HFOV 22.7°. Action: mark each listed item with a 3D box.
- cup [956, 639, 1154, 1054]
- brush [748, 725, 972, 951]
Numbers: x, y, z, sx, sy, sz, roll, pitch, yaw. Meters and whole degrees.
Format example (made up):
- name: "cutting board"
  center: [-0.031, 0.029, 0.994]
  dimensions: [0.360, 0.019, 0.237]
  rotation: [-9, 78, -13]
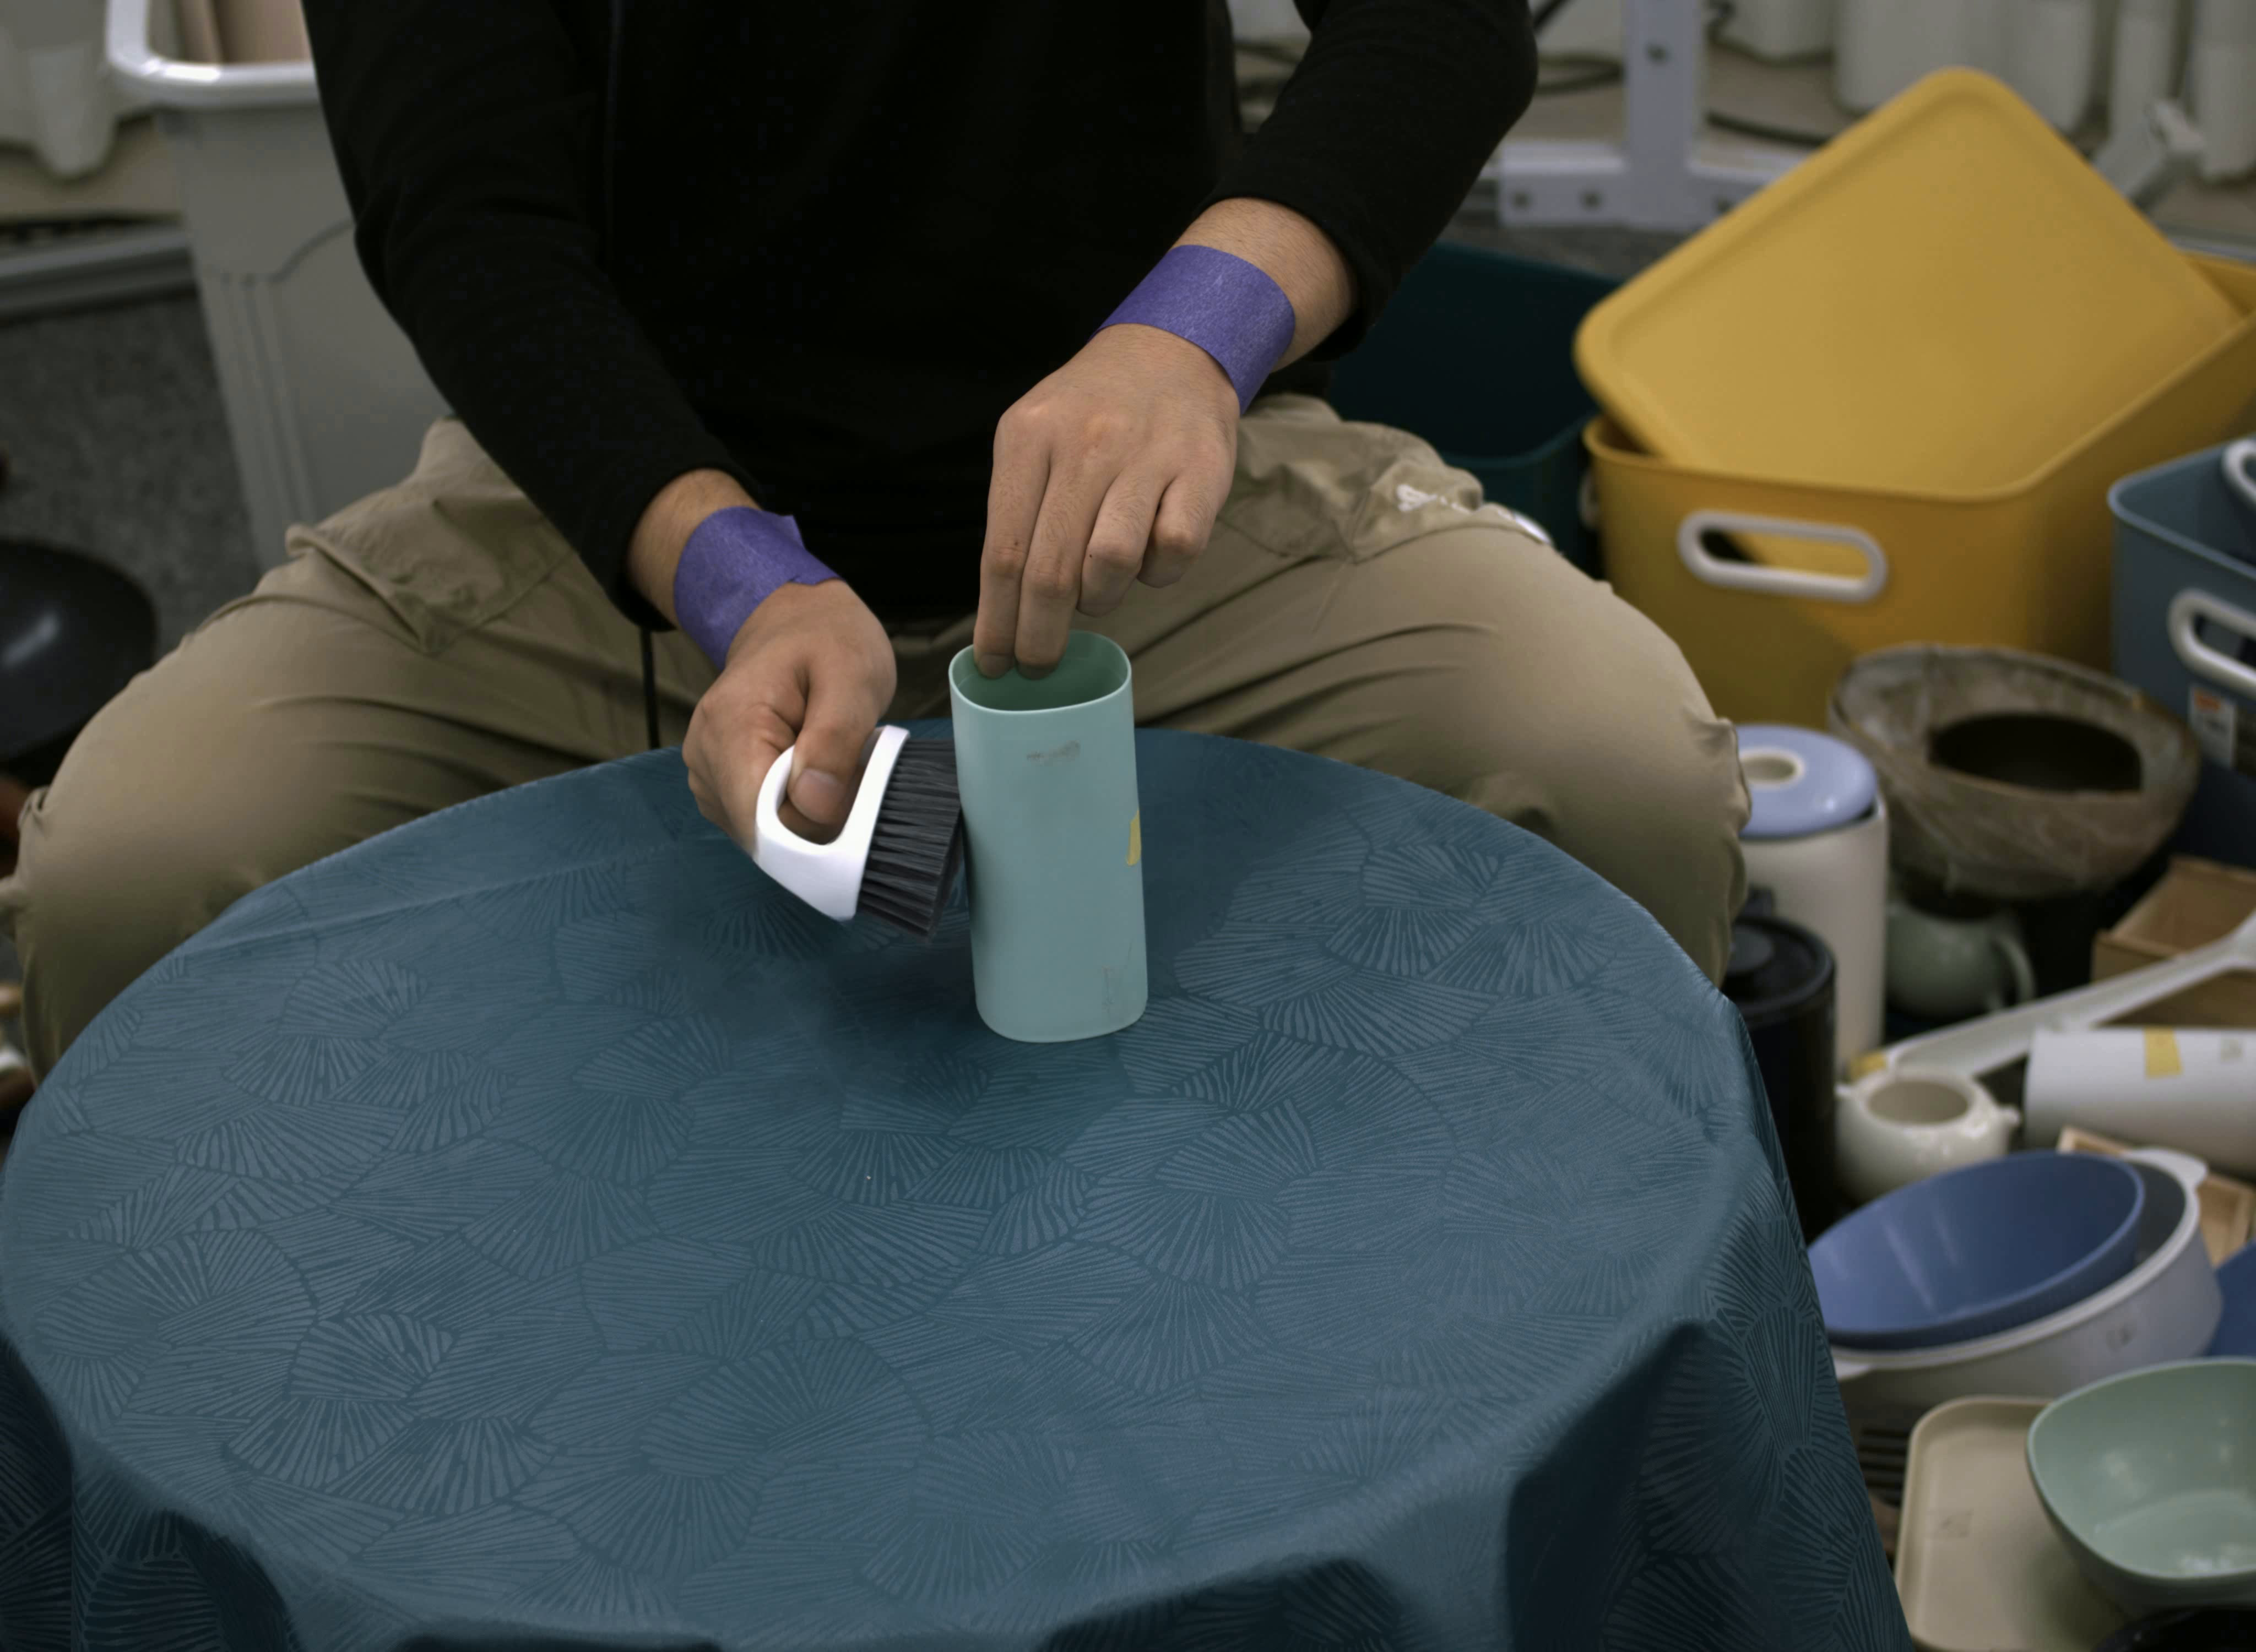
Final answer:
- name: "cup"
  center: [-0.026, 0.007, 1.952]
  dimensions: [0.066, 0.131, 0.068]
  rotation: [-3, 27, 2]
- name: "brush"
  center: [-0.095, -0.001, 1.961]
  dimensions: [0.072, 0.049, 0.101]
  rotation: [12, 31, 3]
